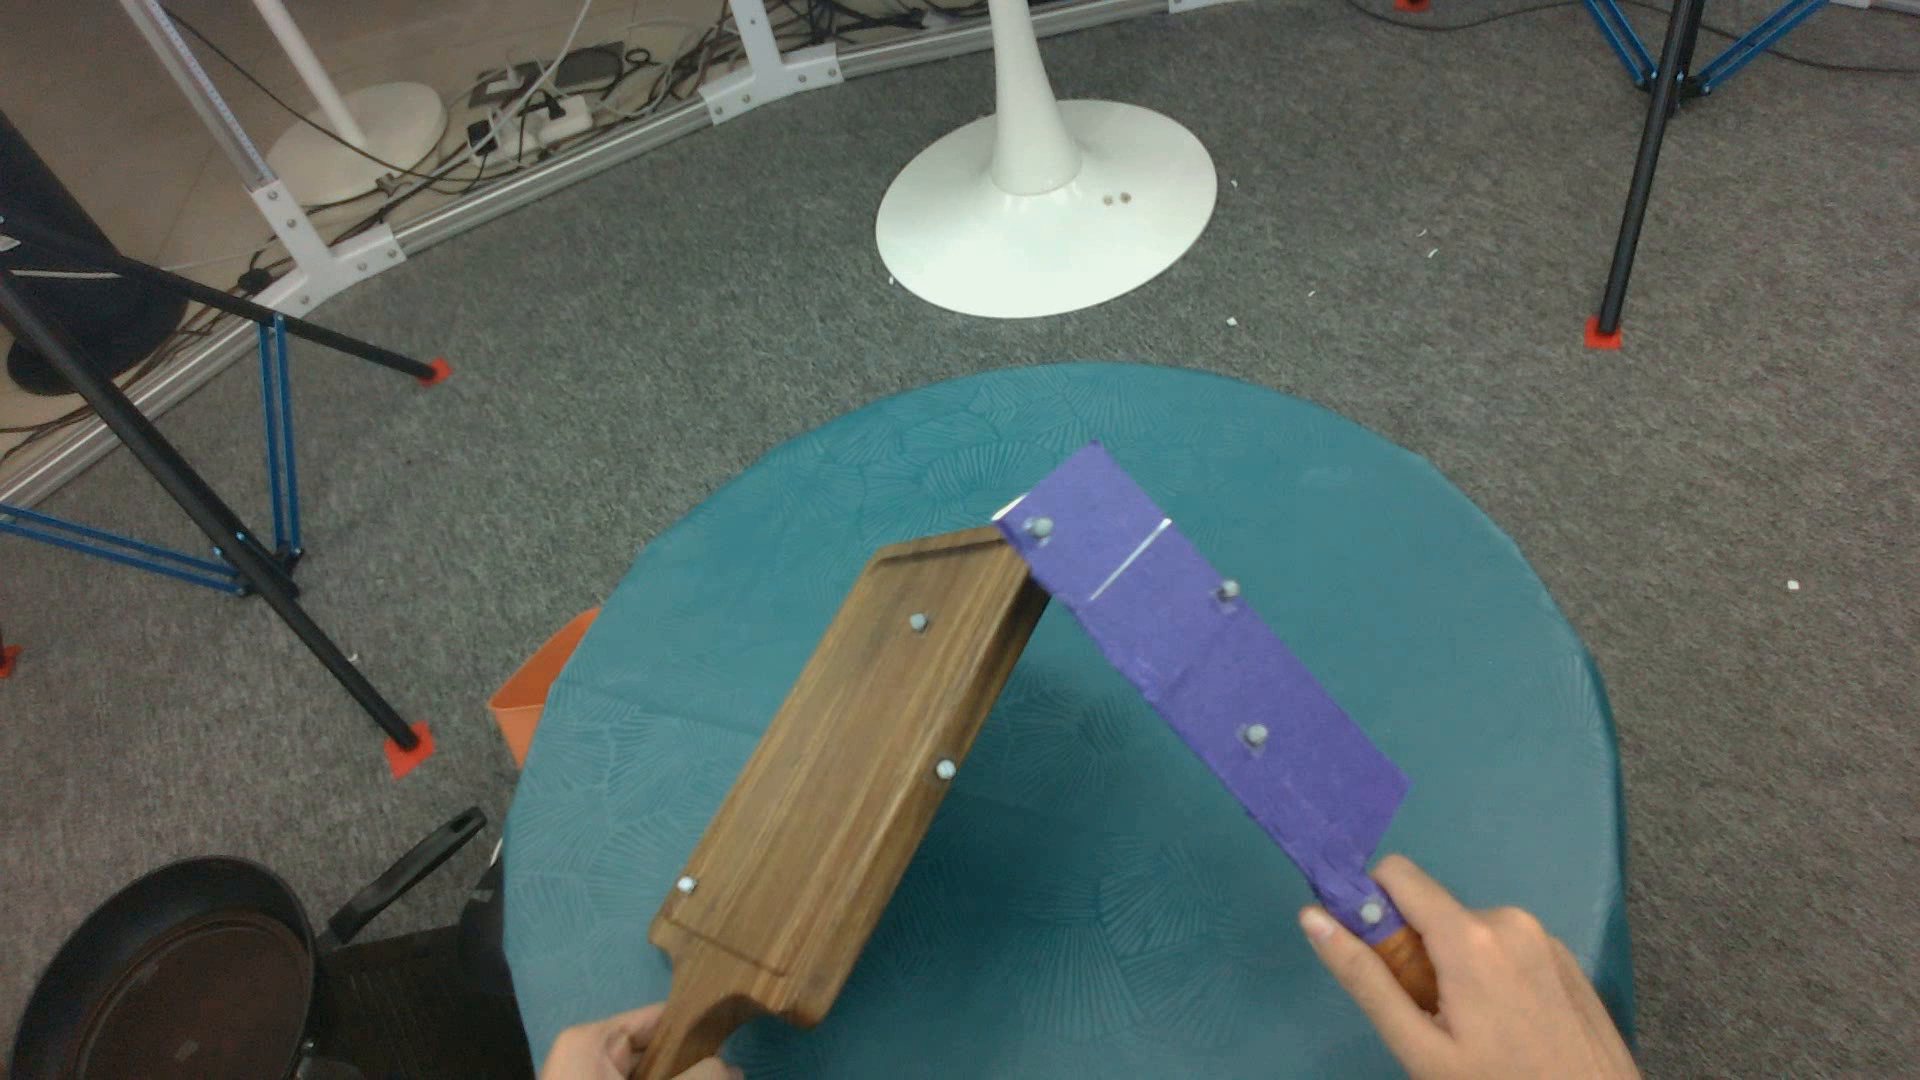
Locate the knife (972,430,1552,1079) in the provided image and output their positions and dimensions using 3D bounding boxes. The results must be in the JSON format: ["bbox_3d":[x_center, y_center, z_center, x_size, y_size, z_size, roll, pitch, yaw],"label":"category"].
[{"bbox_3d":[0.136,0.079,0.572,0.315,0.032,0.104,49,44,2],"label":"knife"}]

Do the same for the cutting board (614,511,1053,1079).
[{"bbox_3d":[-0.081,0.136,0.659,0.200,0.023,0.353,-10,47,59],"label":"cutting board"}]
